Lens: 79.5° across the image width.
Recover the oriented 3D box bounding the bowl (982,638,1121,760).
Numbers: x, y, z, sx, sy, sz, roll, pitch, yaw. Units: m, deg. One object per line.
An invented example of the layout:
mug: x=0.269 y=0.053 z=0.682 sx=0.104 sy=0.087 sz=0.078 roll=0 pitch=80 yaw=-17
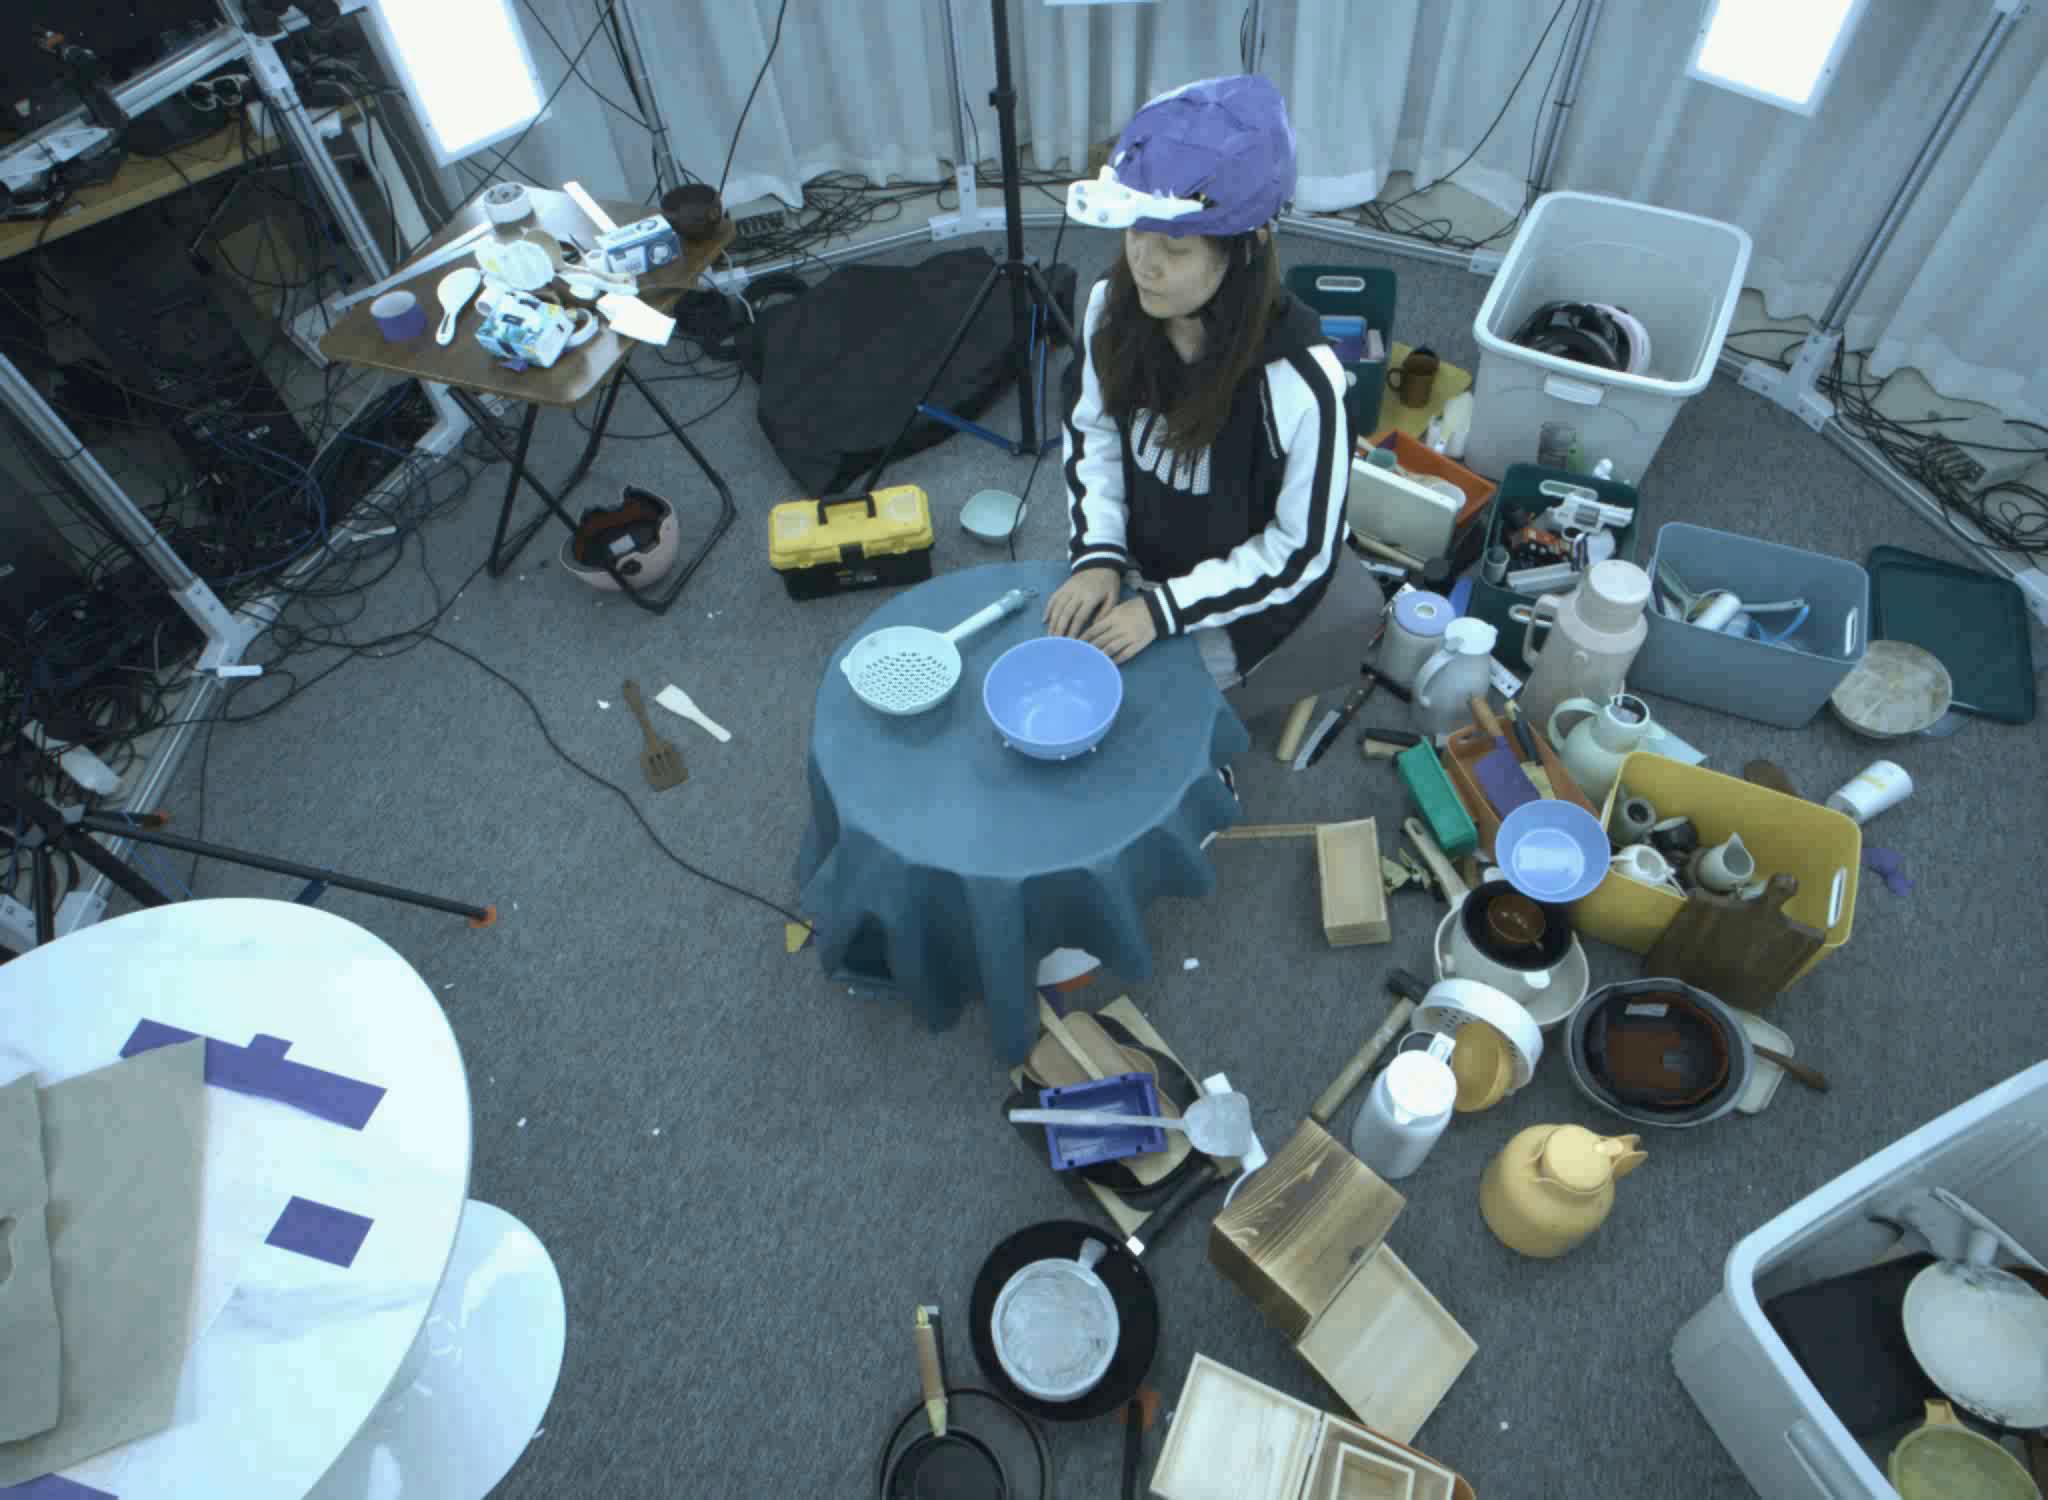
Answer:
bowl: x=0.042 y=-0.059 z=1.770 sx=0.196 sy=0.096 sz=0.194 roll=-1 pitch=54 yaw=2

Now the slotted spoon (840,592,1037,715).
slotted spoon: x=-0.111 y=-0.165 z=1.872 sx=0.166 sy=0.076 sz=0.361 roll=38 pitch=63 yaw=24
